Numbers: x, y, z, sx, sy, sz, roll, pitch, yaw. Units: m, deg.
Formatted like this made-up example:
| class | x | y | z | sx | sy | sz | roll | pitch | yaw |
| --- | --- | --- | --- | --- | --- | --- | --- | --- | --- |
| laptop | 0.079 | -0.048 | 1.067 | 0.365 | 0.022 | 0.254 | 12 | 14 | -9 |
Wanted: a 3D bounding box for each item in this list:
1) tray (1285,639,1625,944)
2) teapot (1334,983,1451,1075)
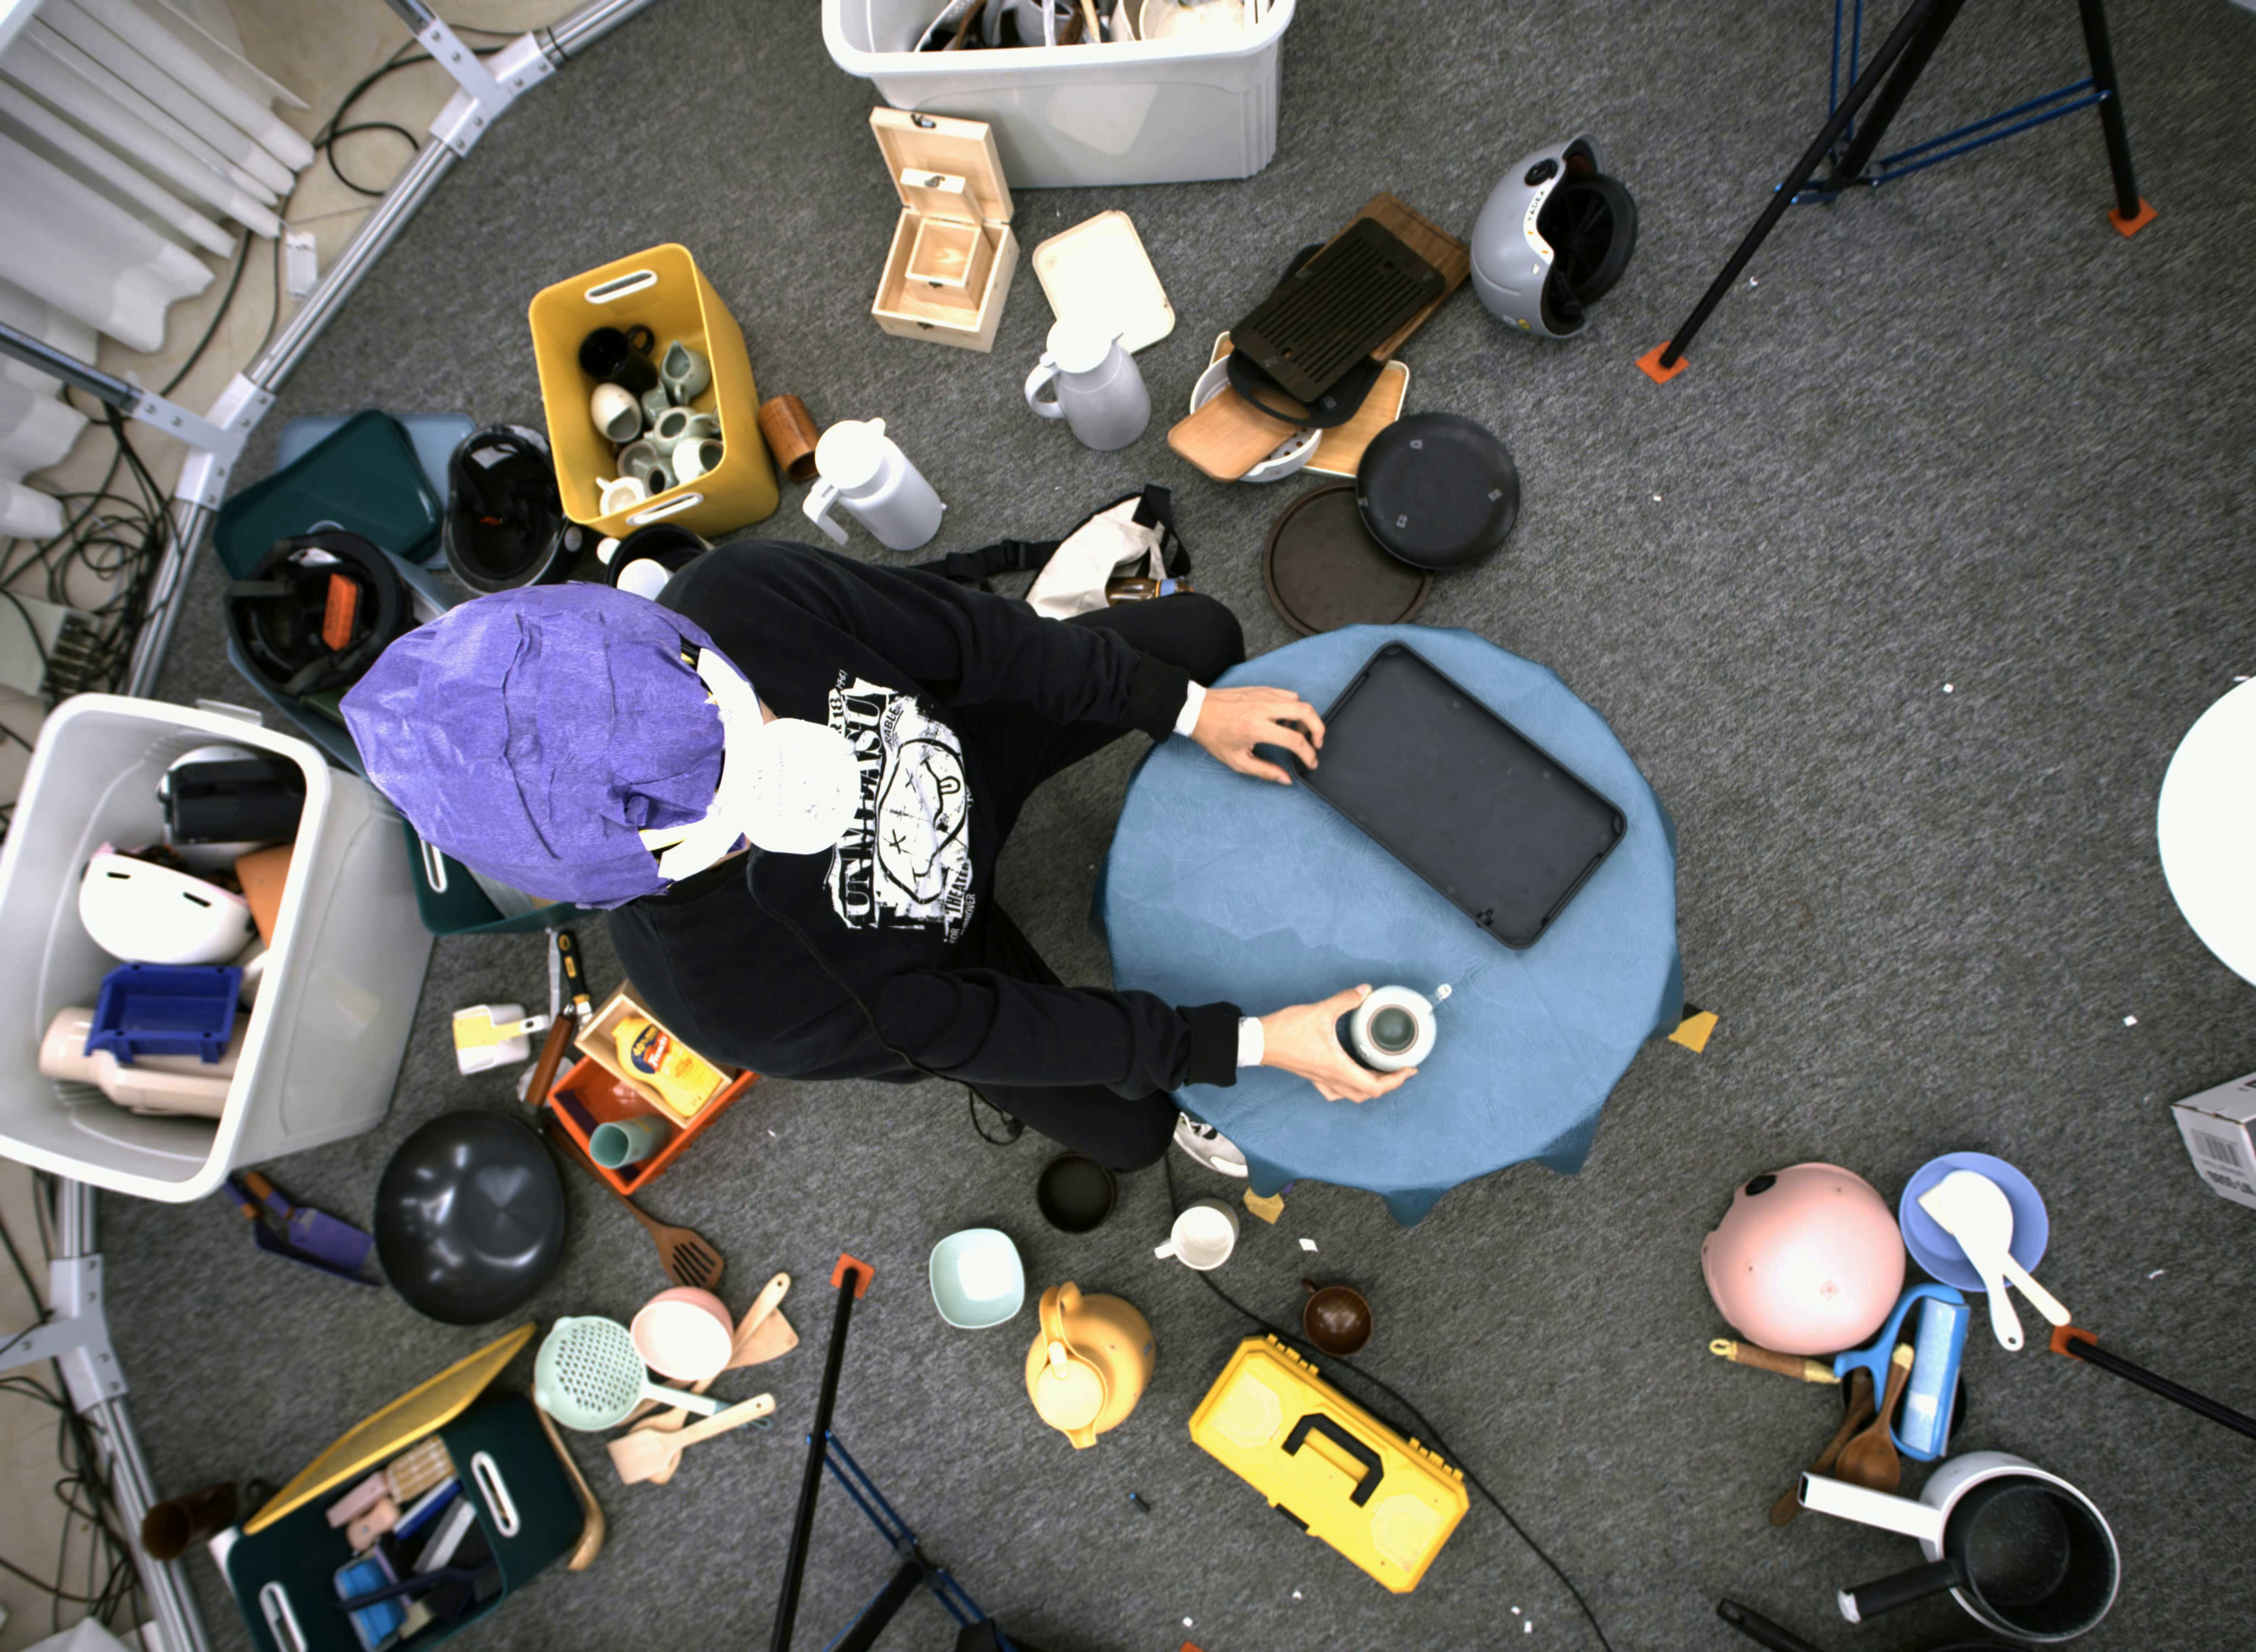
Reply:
| class | x | y | z | sx | sy | sz | roll | pitch | yaw |
| --- | --- | --- | --- | --- | --- | --- | --- | --- | --- |
| tray | 0.338 | -0.039 | 1.435 | 0.317 | 0.037 | 0.185 | 38 | 95 | 10 |
| teapot | 0.270 | 0.205 | 1.418 | 0.144 | 0.075 | 0.088 | -36 | 81 | 5 |
